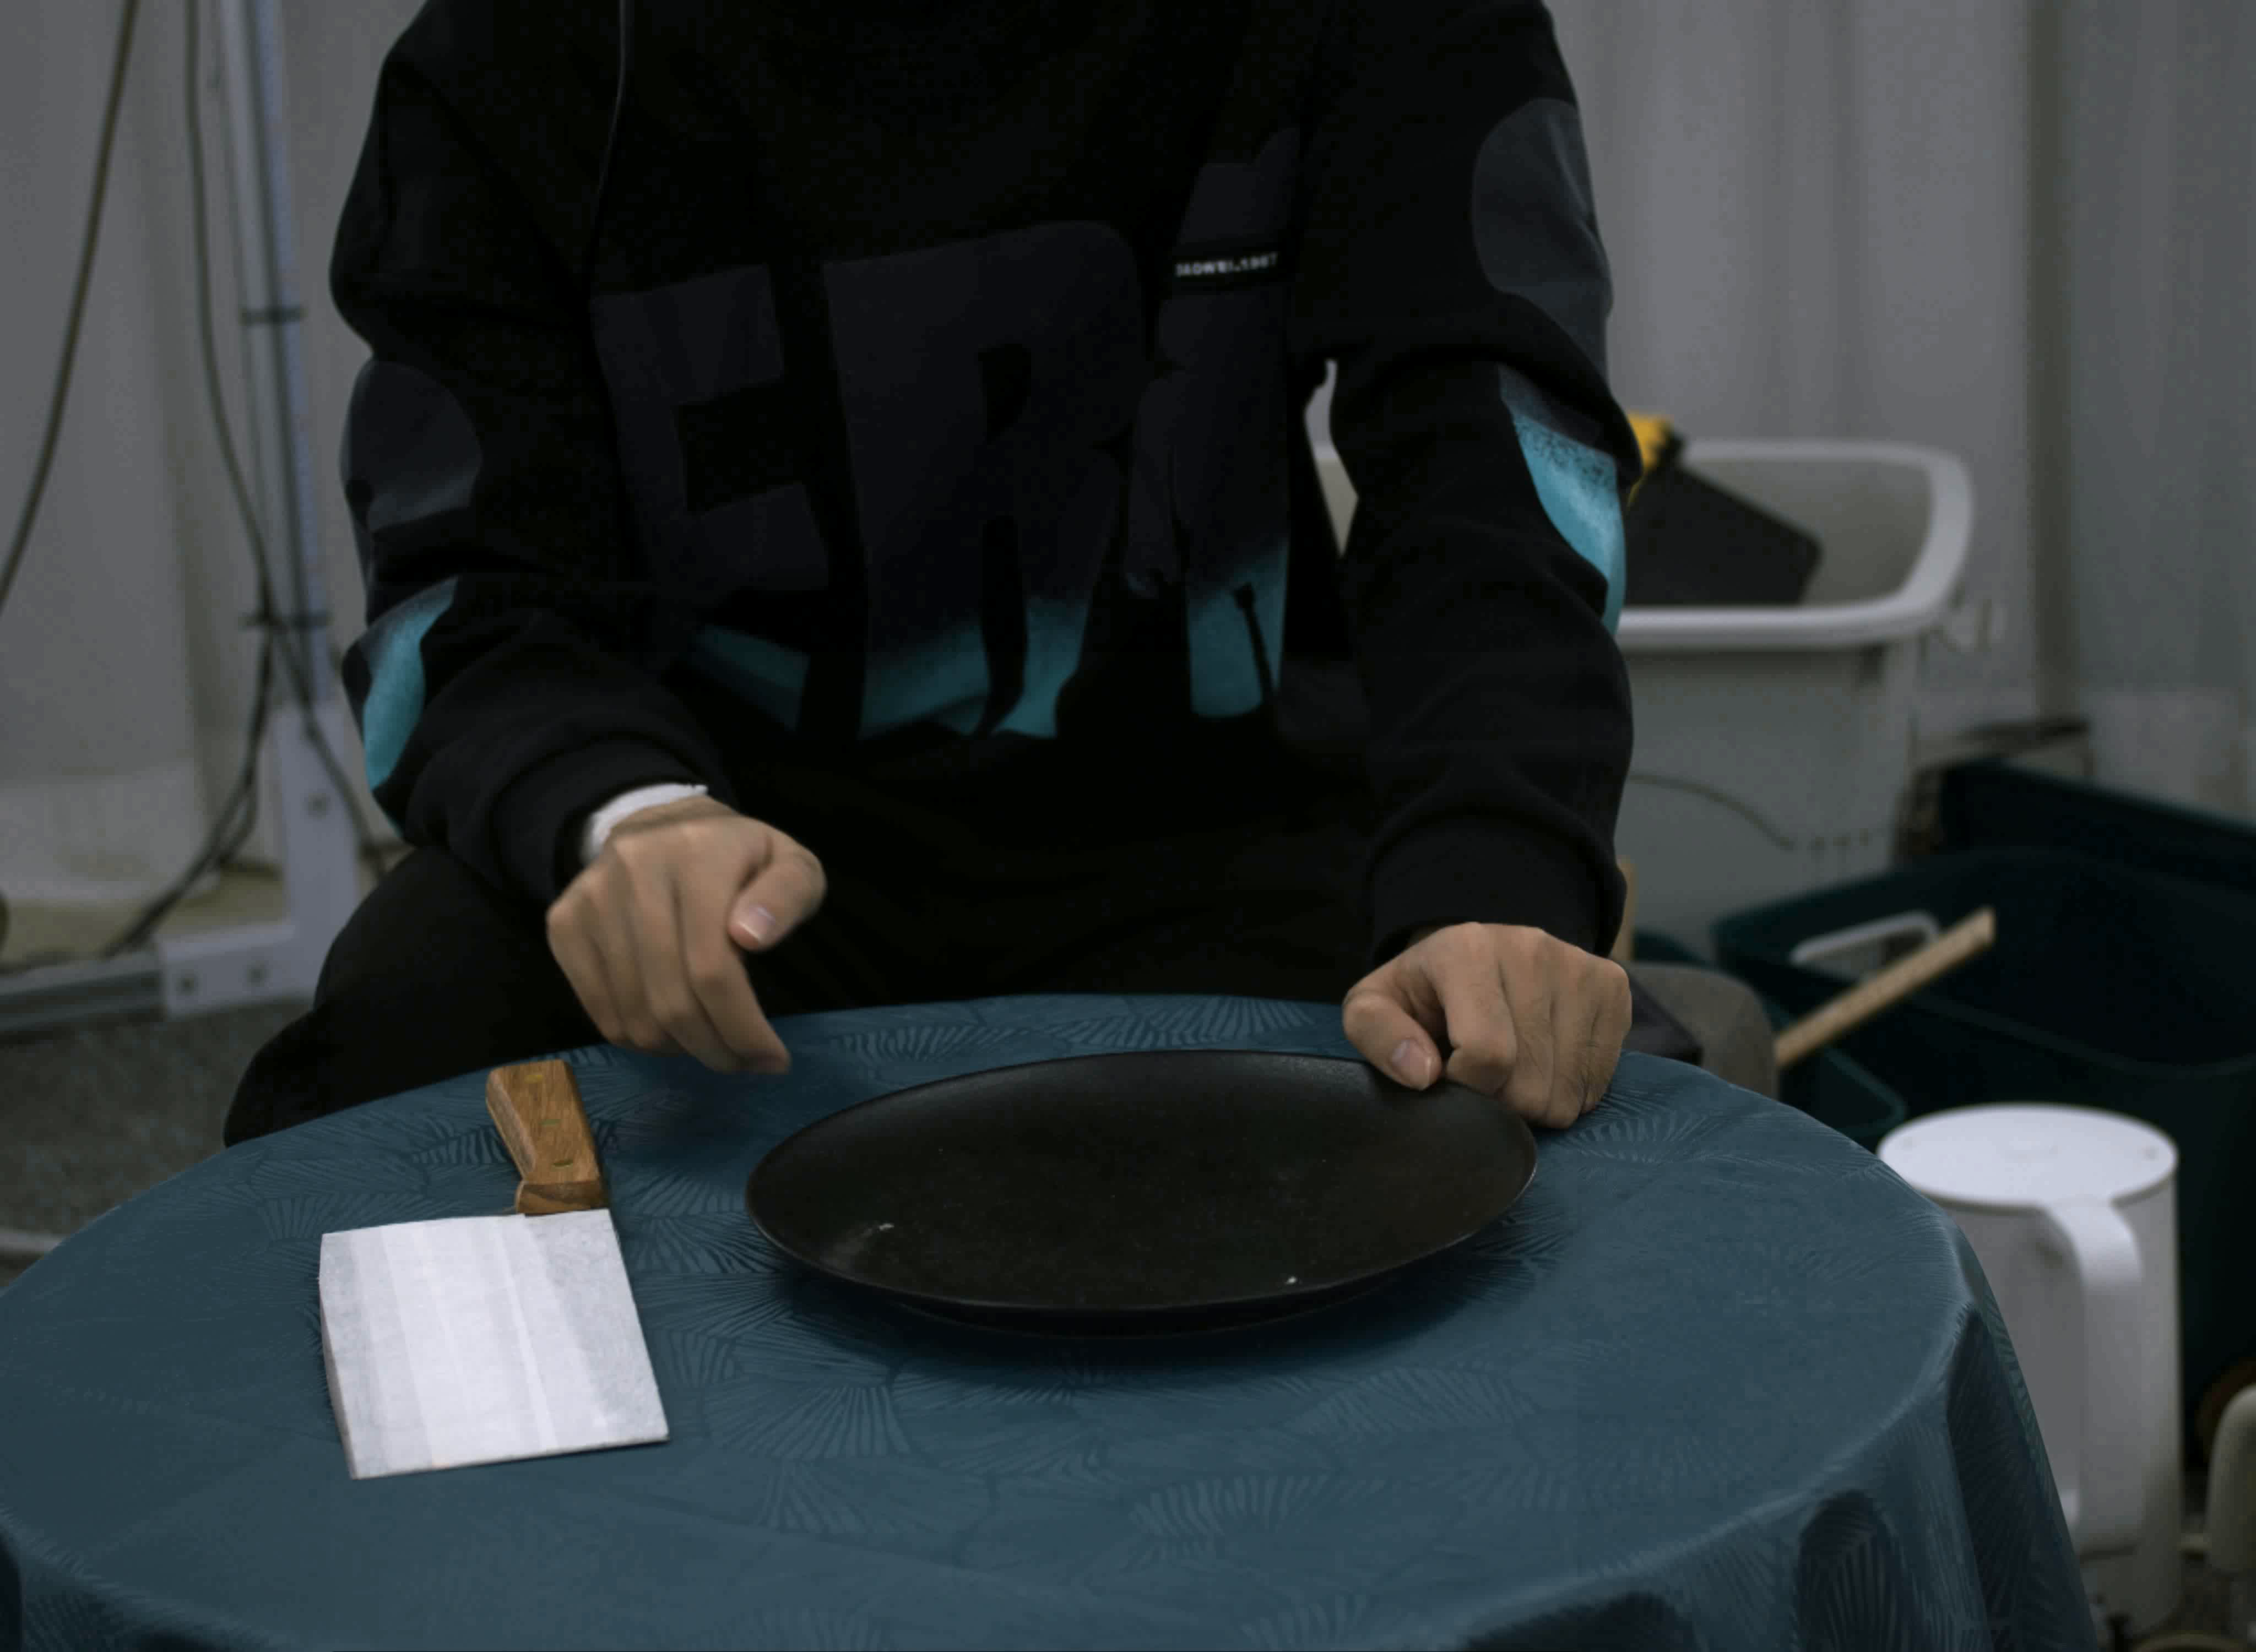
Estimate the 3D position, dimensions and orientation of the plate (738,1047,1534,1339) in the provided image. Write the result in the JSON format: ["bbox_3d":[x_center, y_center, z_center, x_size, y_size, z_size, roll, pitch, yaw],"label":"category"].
[{"bbox_3d":[0.003,0.115,1.669,0.243,0.023,0.246,-3,15,0],"label":"plate"}]

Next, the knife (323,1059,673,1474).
[{"bbox_3d":[-0.197,0.132,1.660,0.092,0.021,0.308,-7,18,-9],"label":"knife"}]
